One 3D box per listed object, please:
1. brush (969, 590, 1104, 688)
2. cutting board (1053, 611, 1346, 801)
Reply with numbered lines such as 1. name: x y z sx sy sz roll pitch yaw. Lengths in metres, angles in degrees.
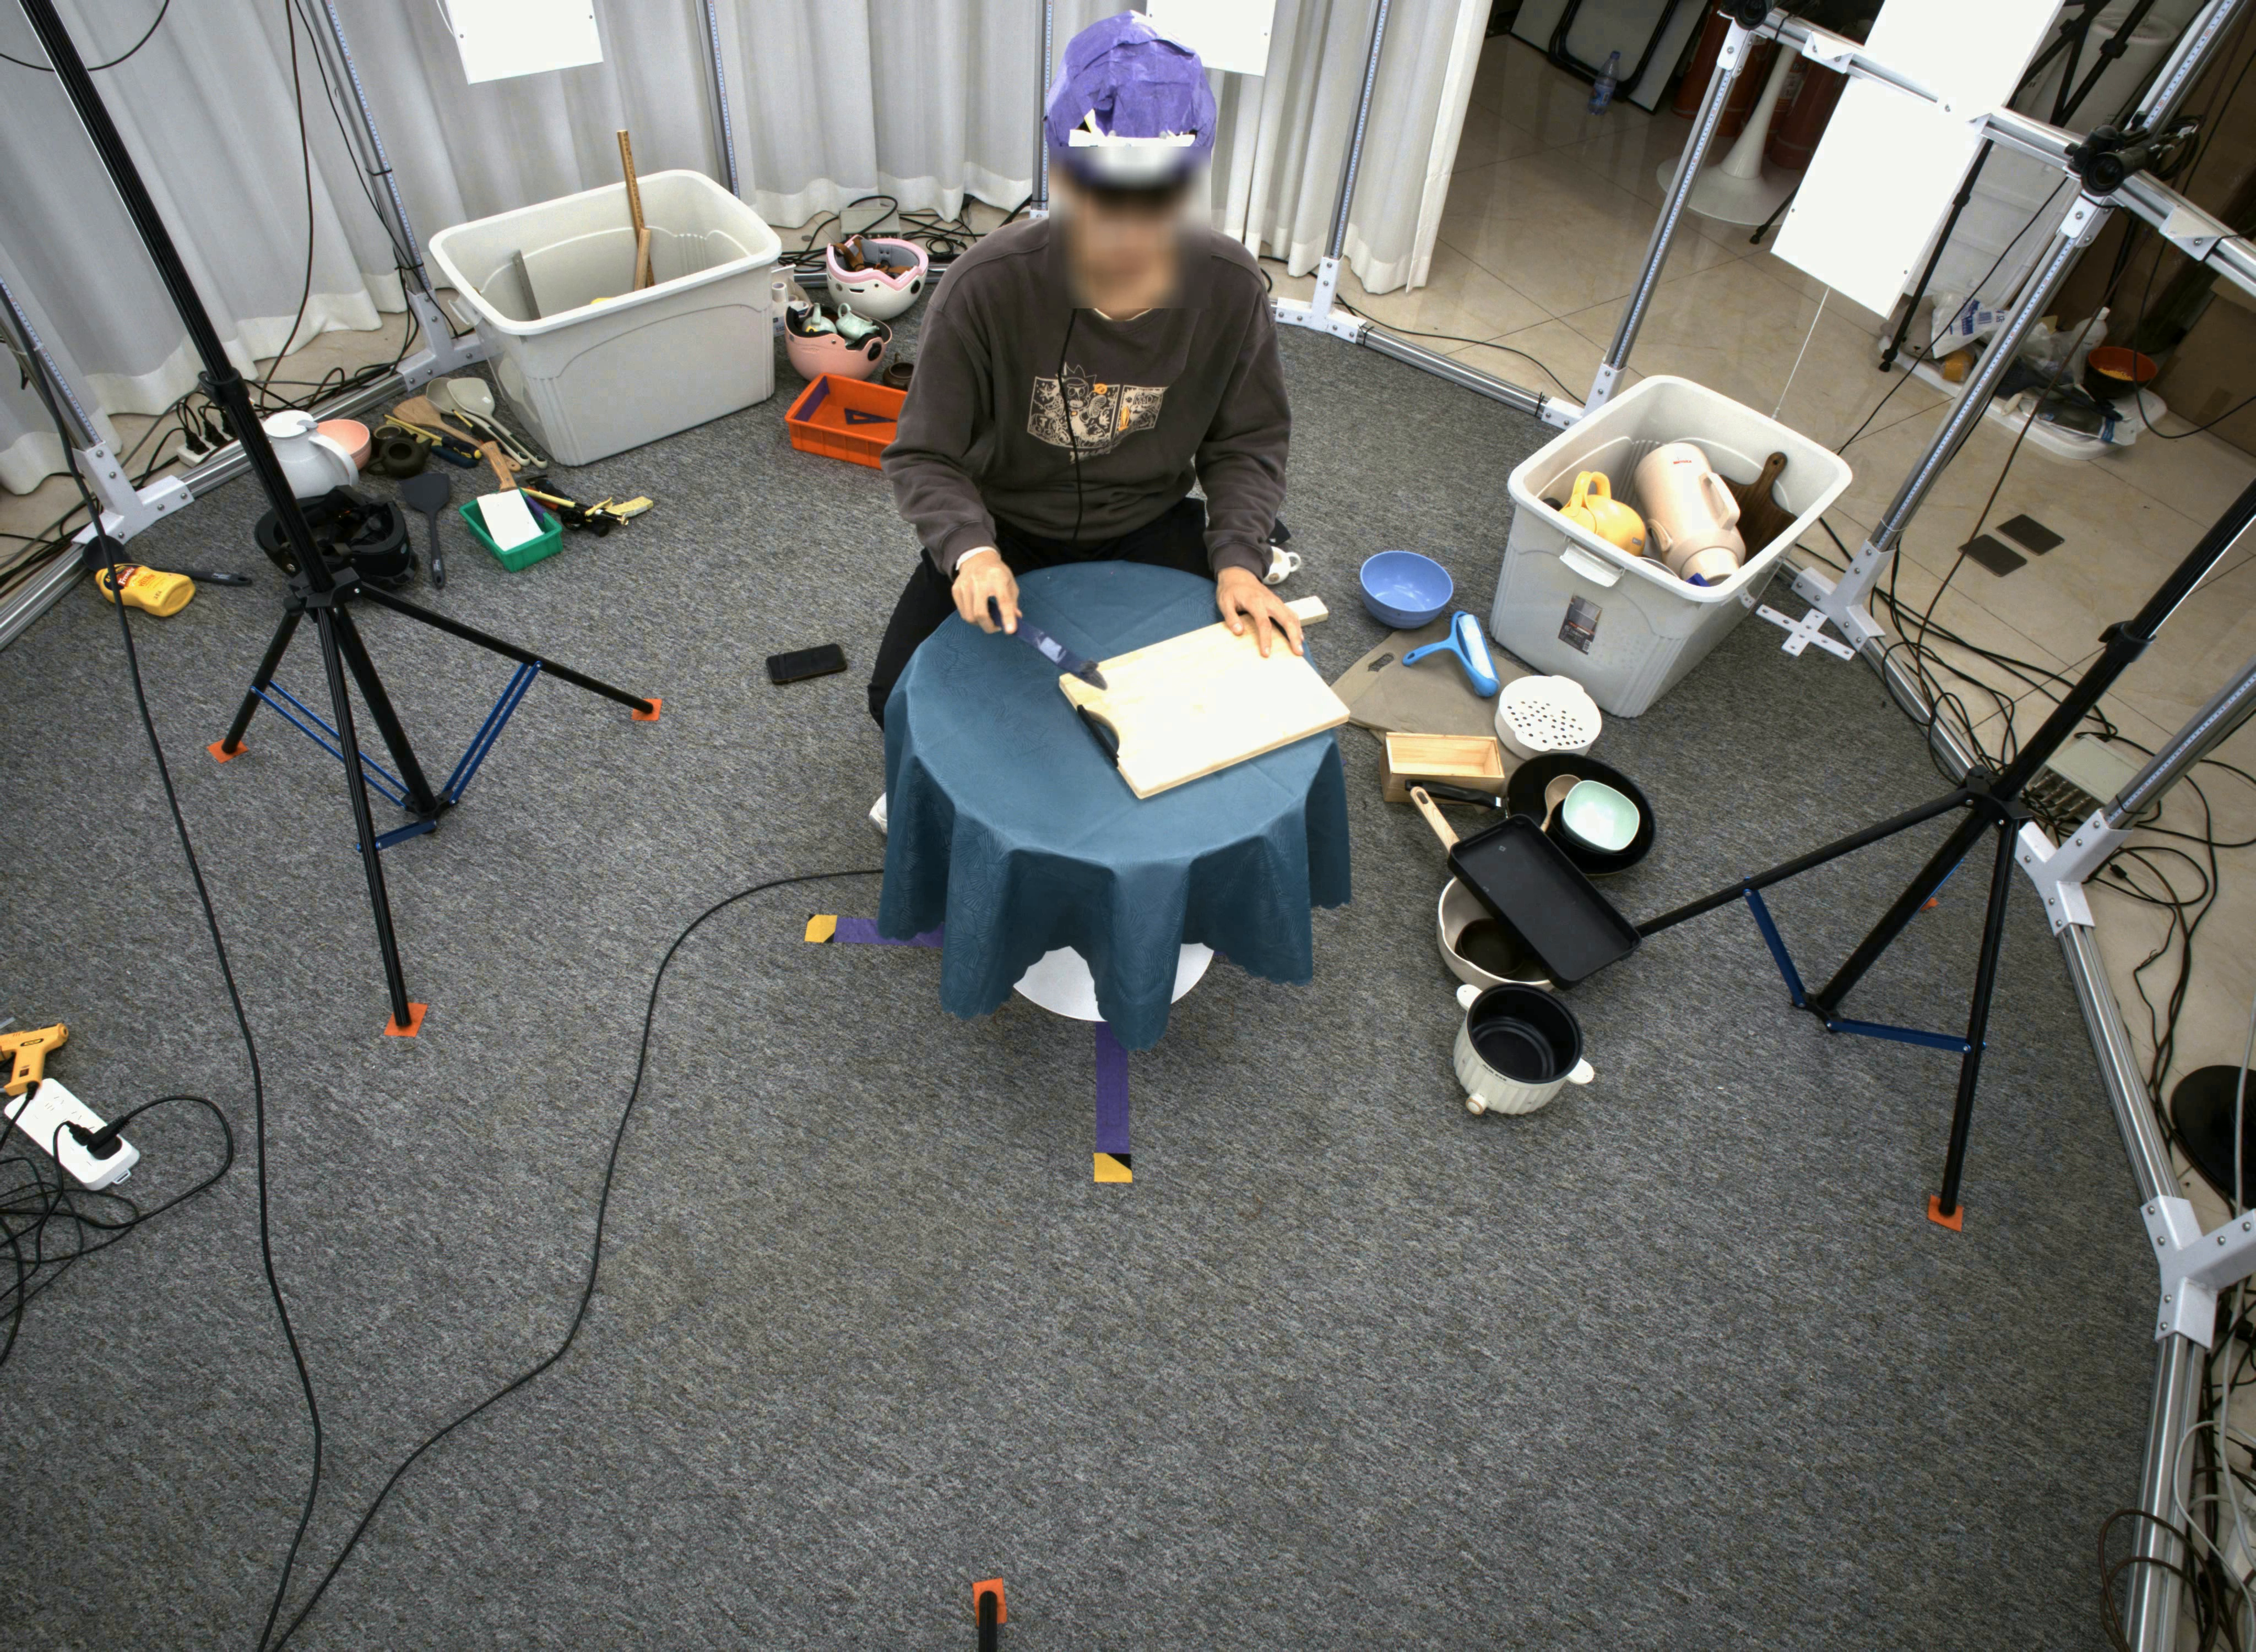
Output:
1. brush: -0.128 -0.257 1.703 0.277 0.094 0.033 36 87 31
2. cutting board: 0.102 -0.178 1.816 0.349 0.023 0.256 -21 53 -21
